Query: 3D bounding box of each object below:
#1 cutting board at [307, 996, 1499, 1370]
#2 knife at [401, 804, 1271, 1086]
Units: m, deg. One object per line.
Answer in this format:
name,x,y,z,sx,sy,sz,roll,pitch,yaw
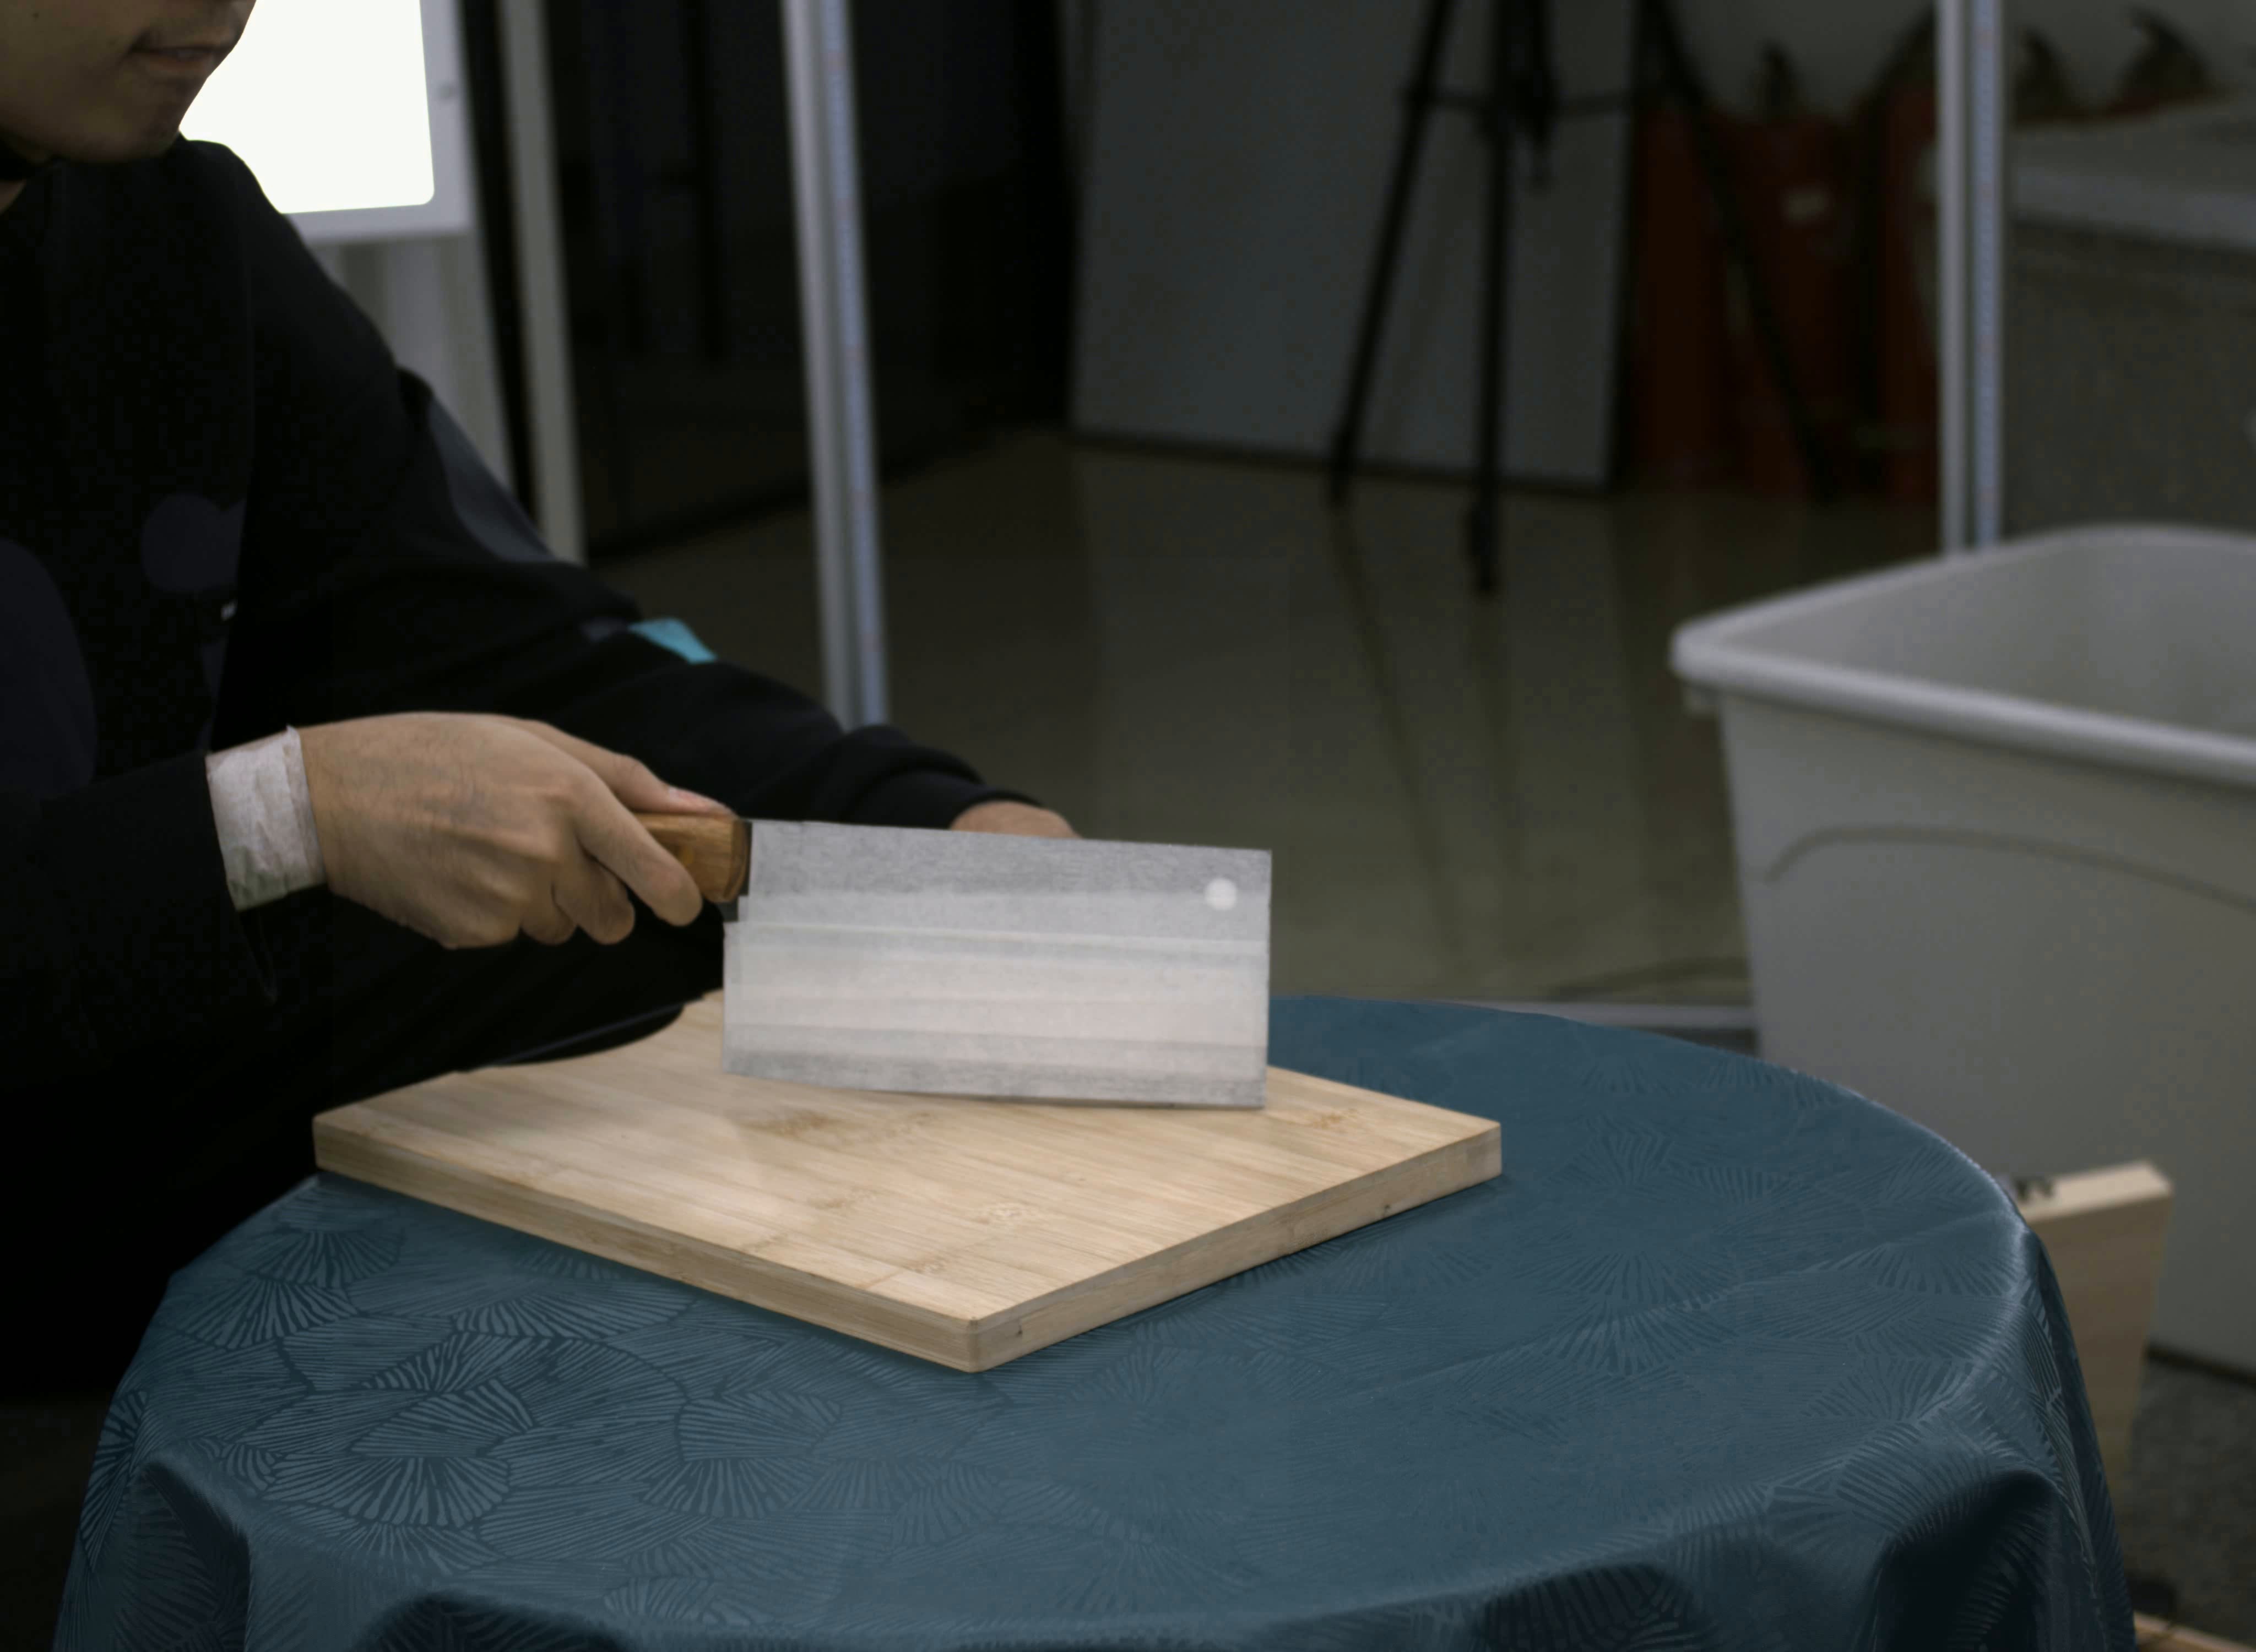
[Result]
cutting board,-0.080,0.108,1.811,0.245,0.024,0.352,-17,19,-41
knife,-0.100,0.041,1.814,0.304,0.094,0.021,3,10,14
